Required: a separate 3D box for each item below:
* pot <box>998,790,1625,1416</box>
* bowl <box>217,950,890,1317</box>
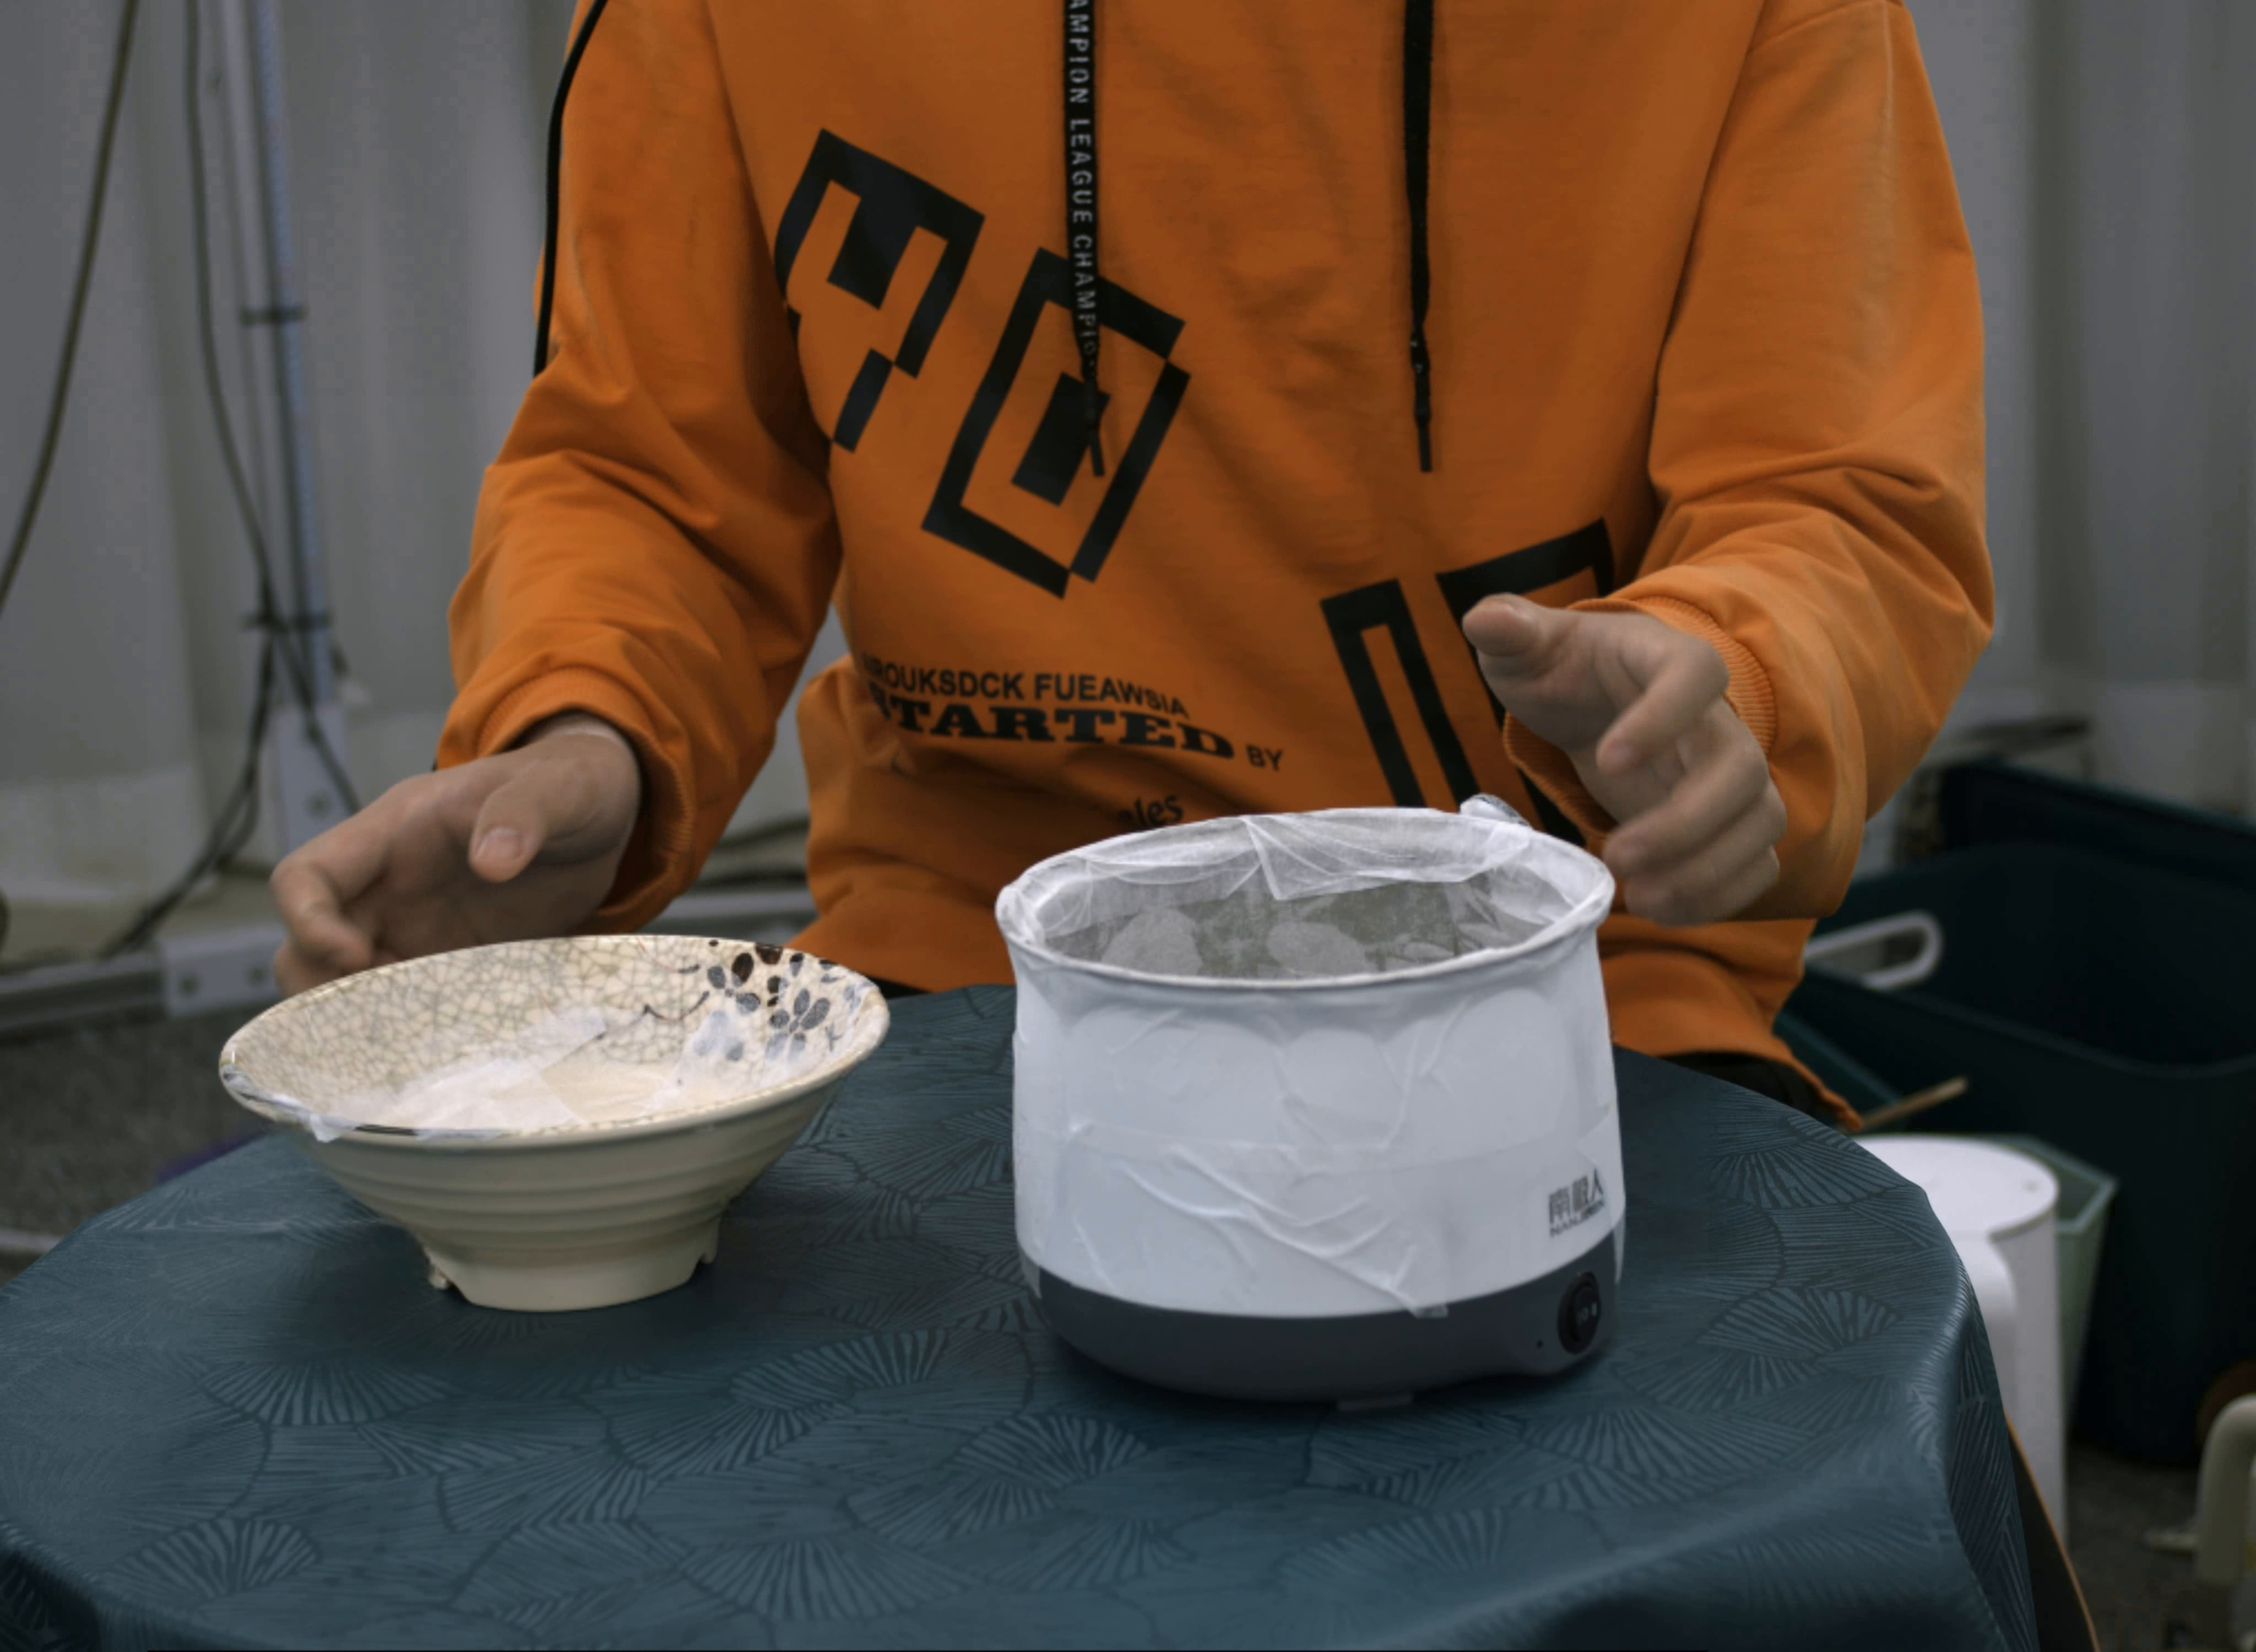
[{"bbox_3d":[0.069,0.073,1.594,0.179,0.136,0.234,7,18,32],"label":"pot"},{"bbox_3d":[-0.172,0.099,1.664,0.203,0.078,0.205,-3,12,0],"label":"bowl"}]
